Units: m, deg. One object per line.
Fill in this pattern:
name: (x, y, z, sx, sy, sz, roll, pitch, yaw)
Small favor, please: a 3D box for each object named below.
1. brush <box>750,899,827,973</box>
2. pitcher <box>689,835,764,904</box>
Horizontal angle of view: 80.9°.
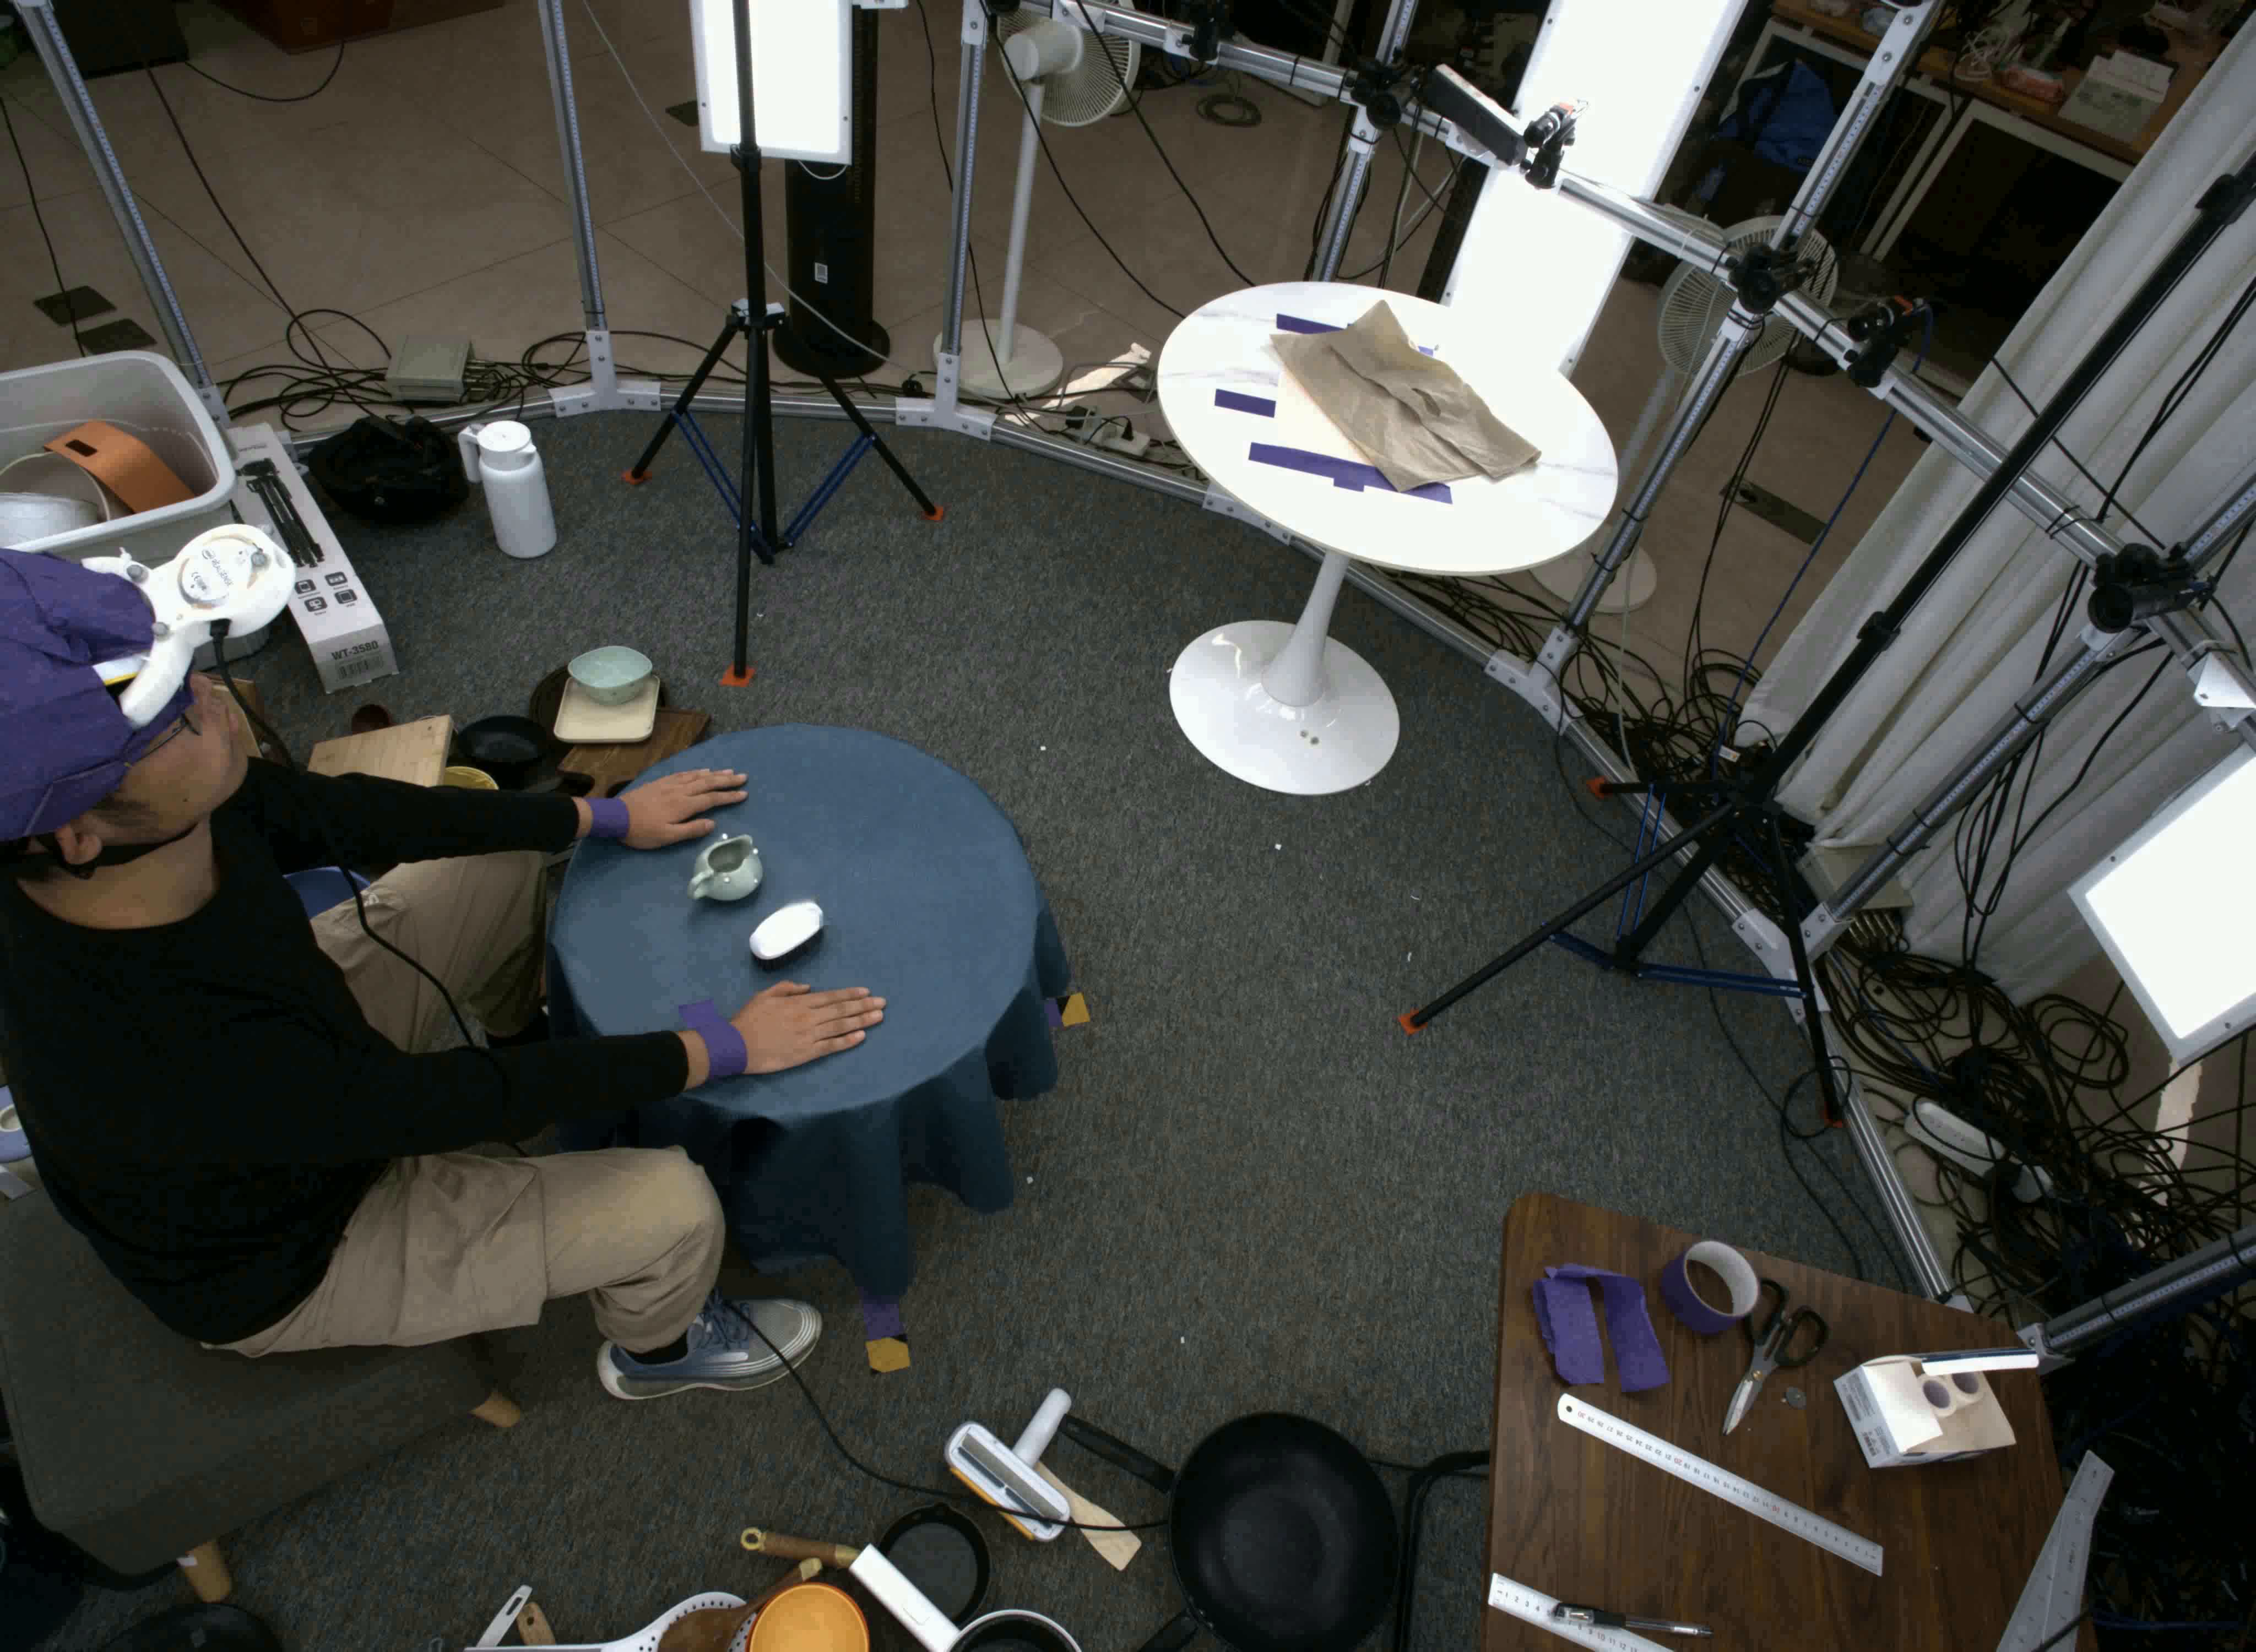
brush: (-0.417, 0.125, 1.589, 0.099, 0.074, 0.049, -33, 64, -33)
pitcher: (-0.511, 0.060, 1.626, 0.084, 0.061, 0.108, 31, 55, 12)
